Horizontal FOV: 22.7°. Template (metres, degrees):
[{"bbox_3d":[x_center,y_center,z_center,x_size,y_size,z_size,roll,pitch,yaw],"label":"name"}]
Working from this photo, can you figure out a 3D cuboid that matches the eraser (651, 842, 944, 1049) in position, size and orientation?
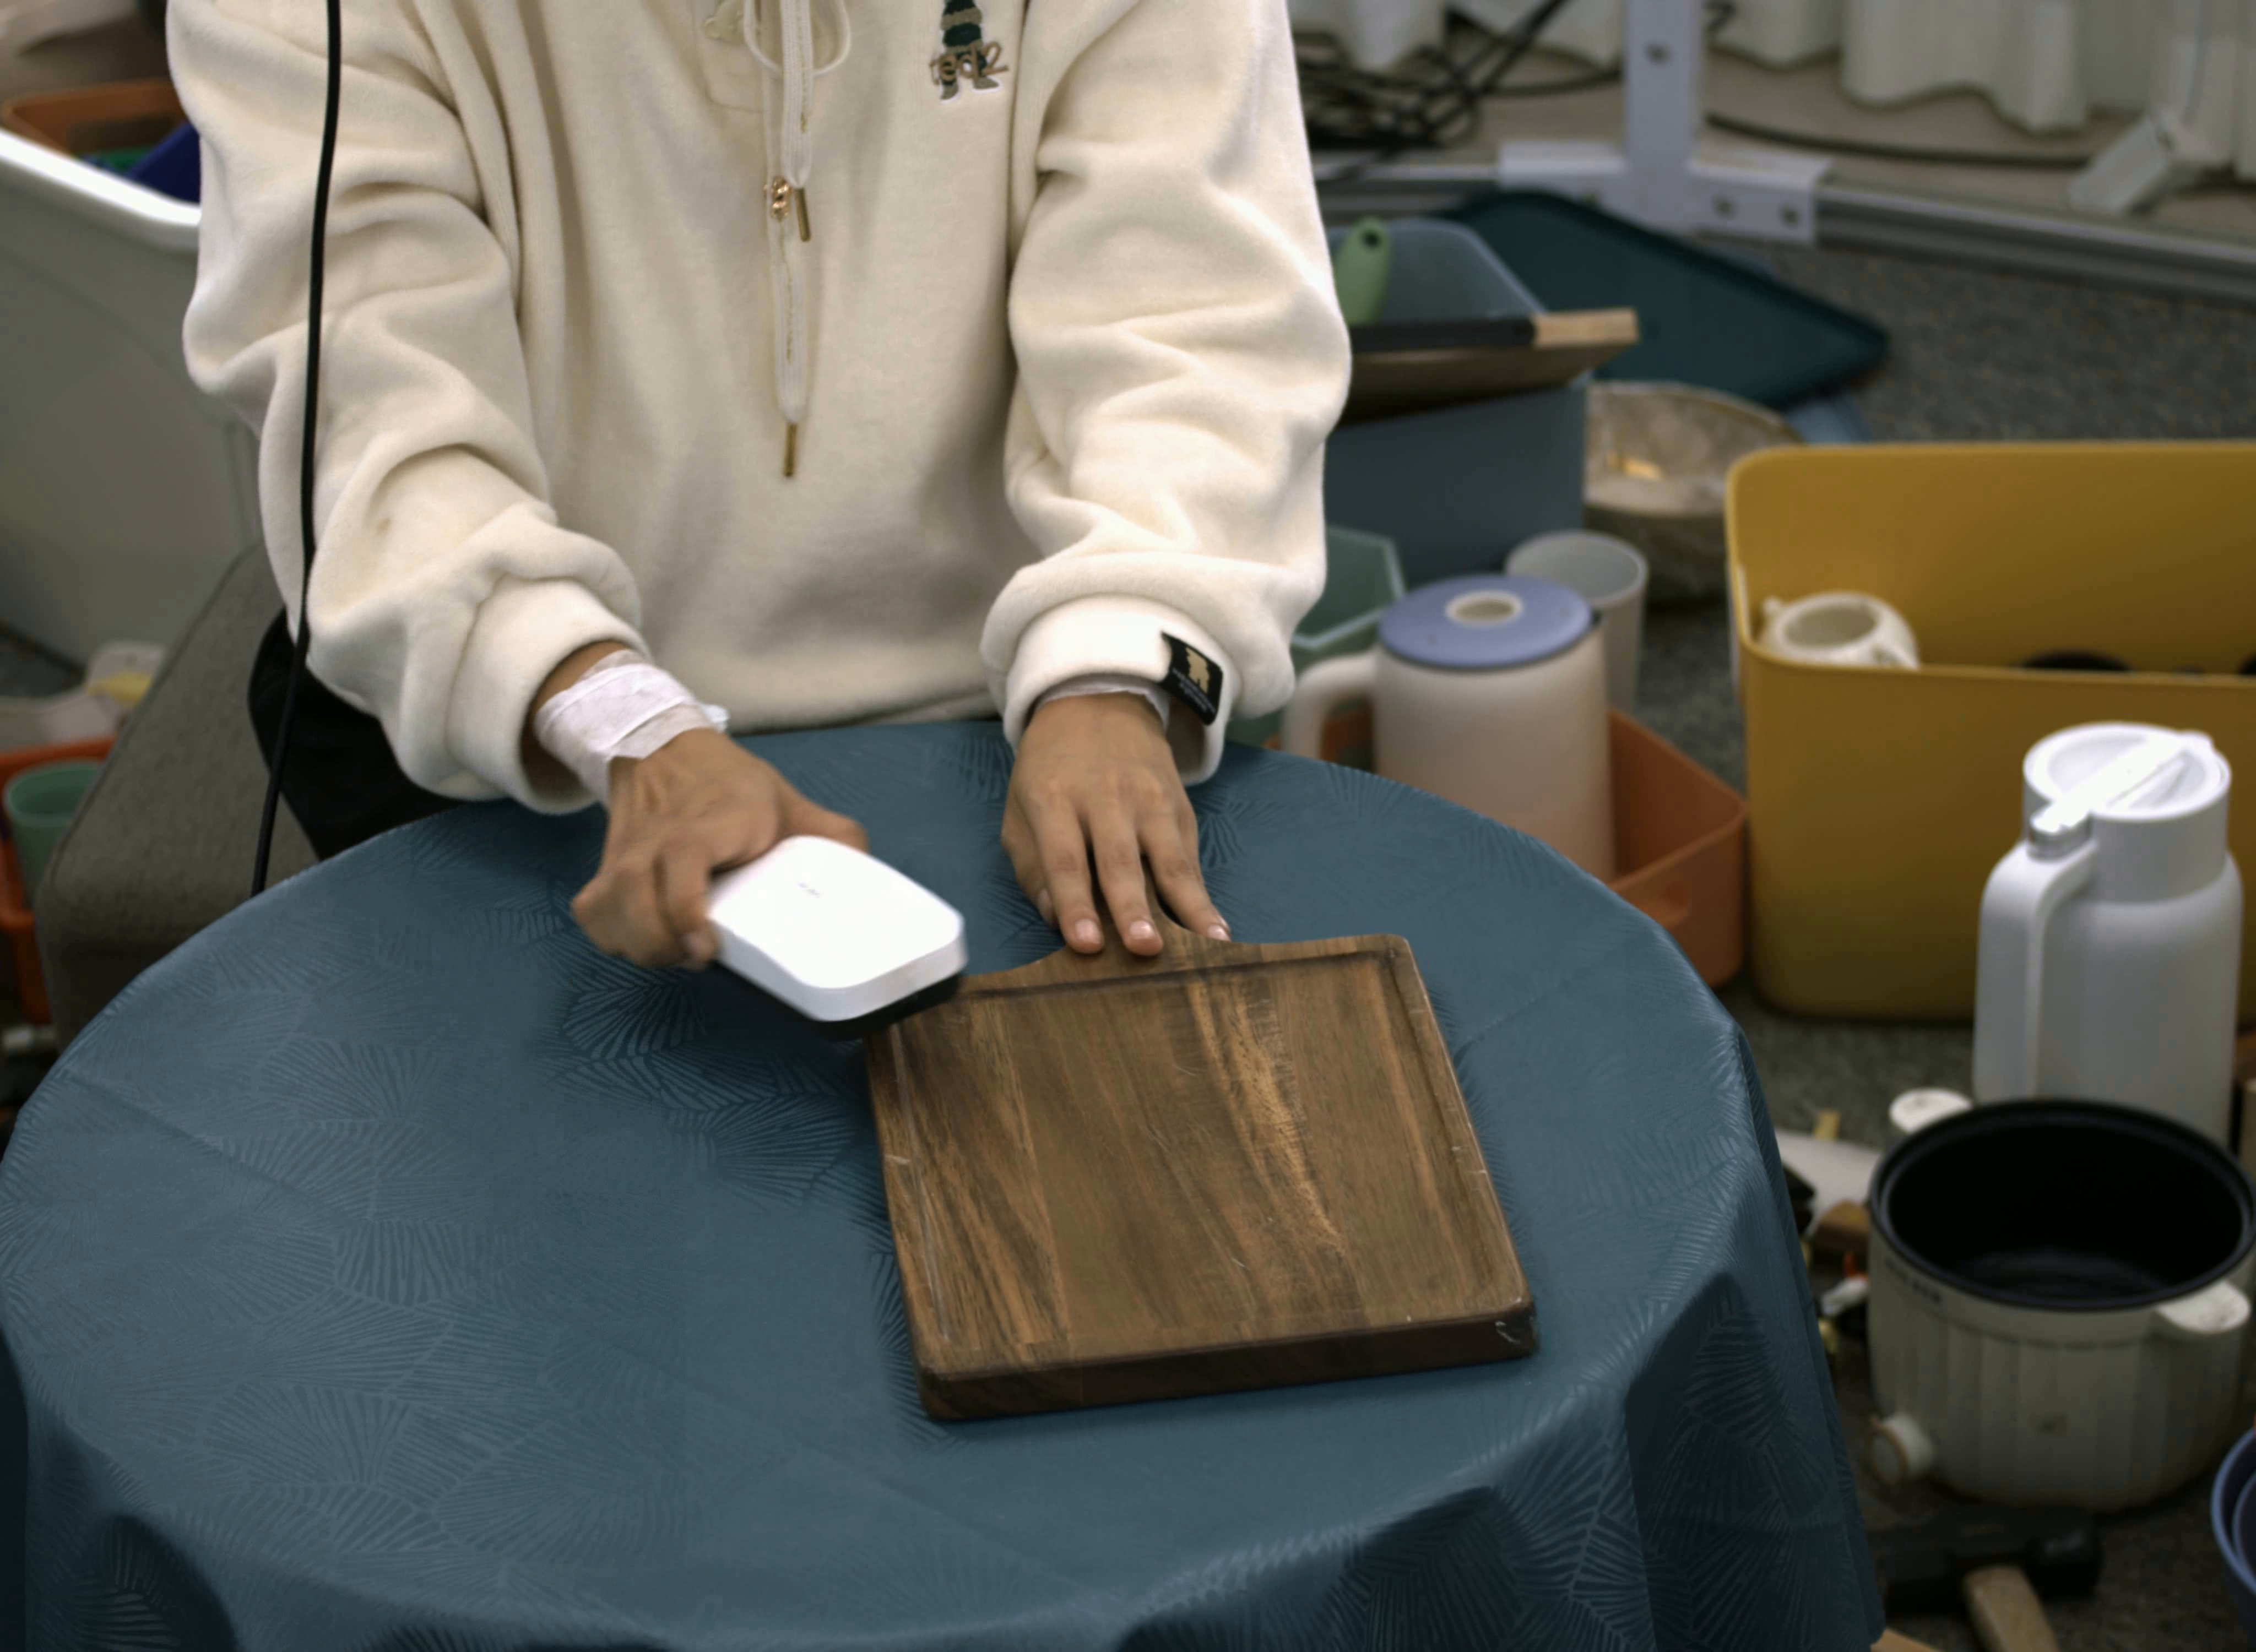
[{"bbox_3d":[-0.113,0.037,1.935,0.064,0.034,0.131,-22,25,-22],"label":"eraser"}]

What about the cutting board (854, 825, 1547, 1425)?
[{"bbox_3d":[0.012,0.089,1.900,0.200,0.023,0.357,-5,28,-6],"label":"cutting board"}]
